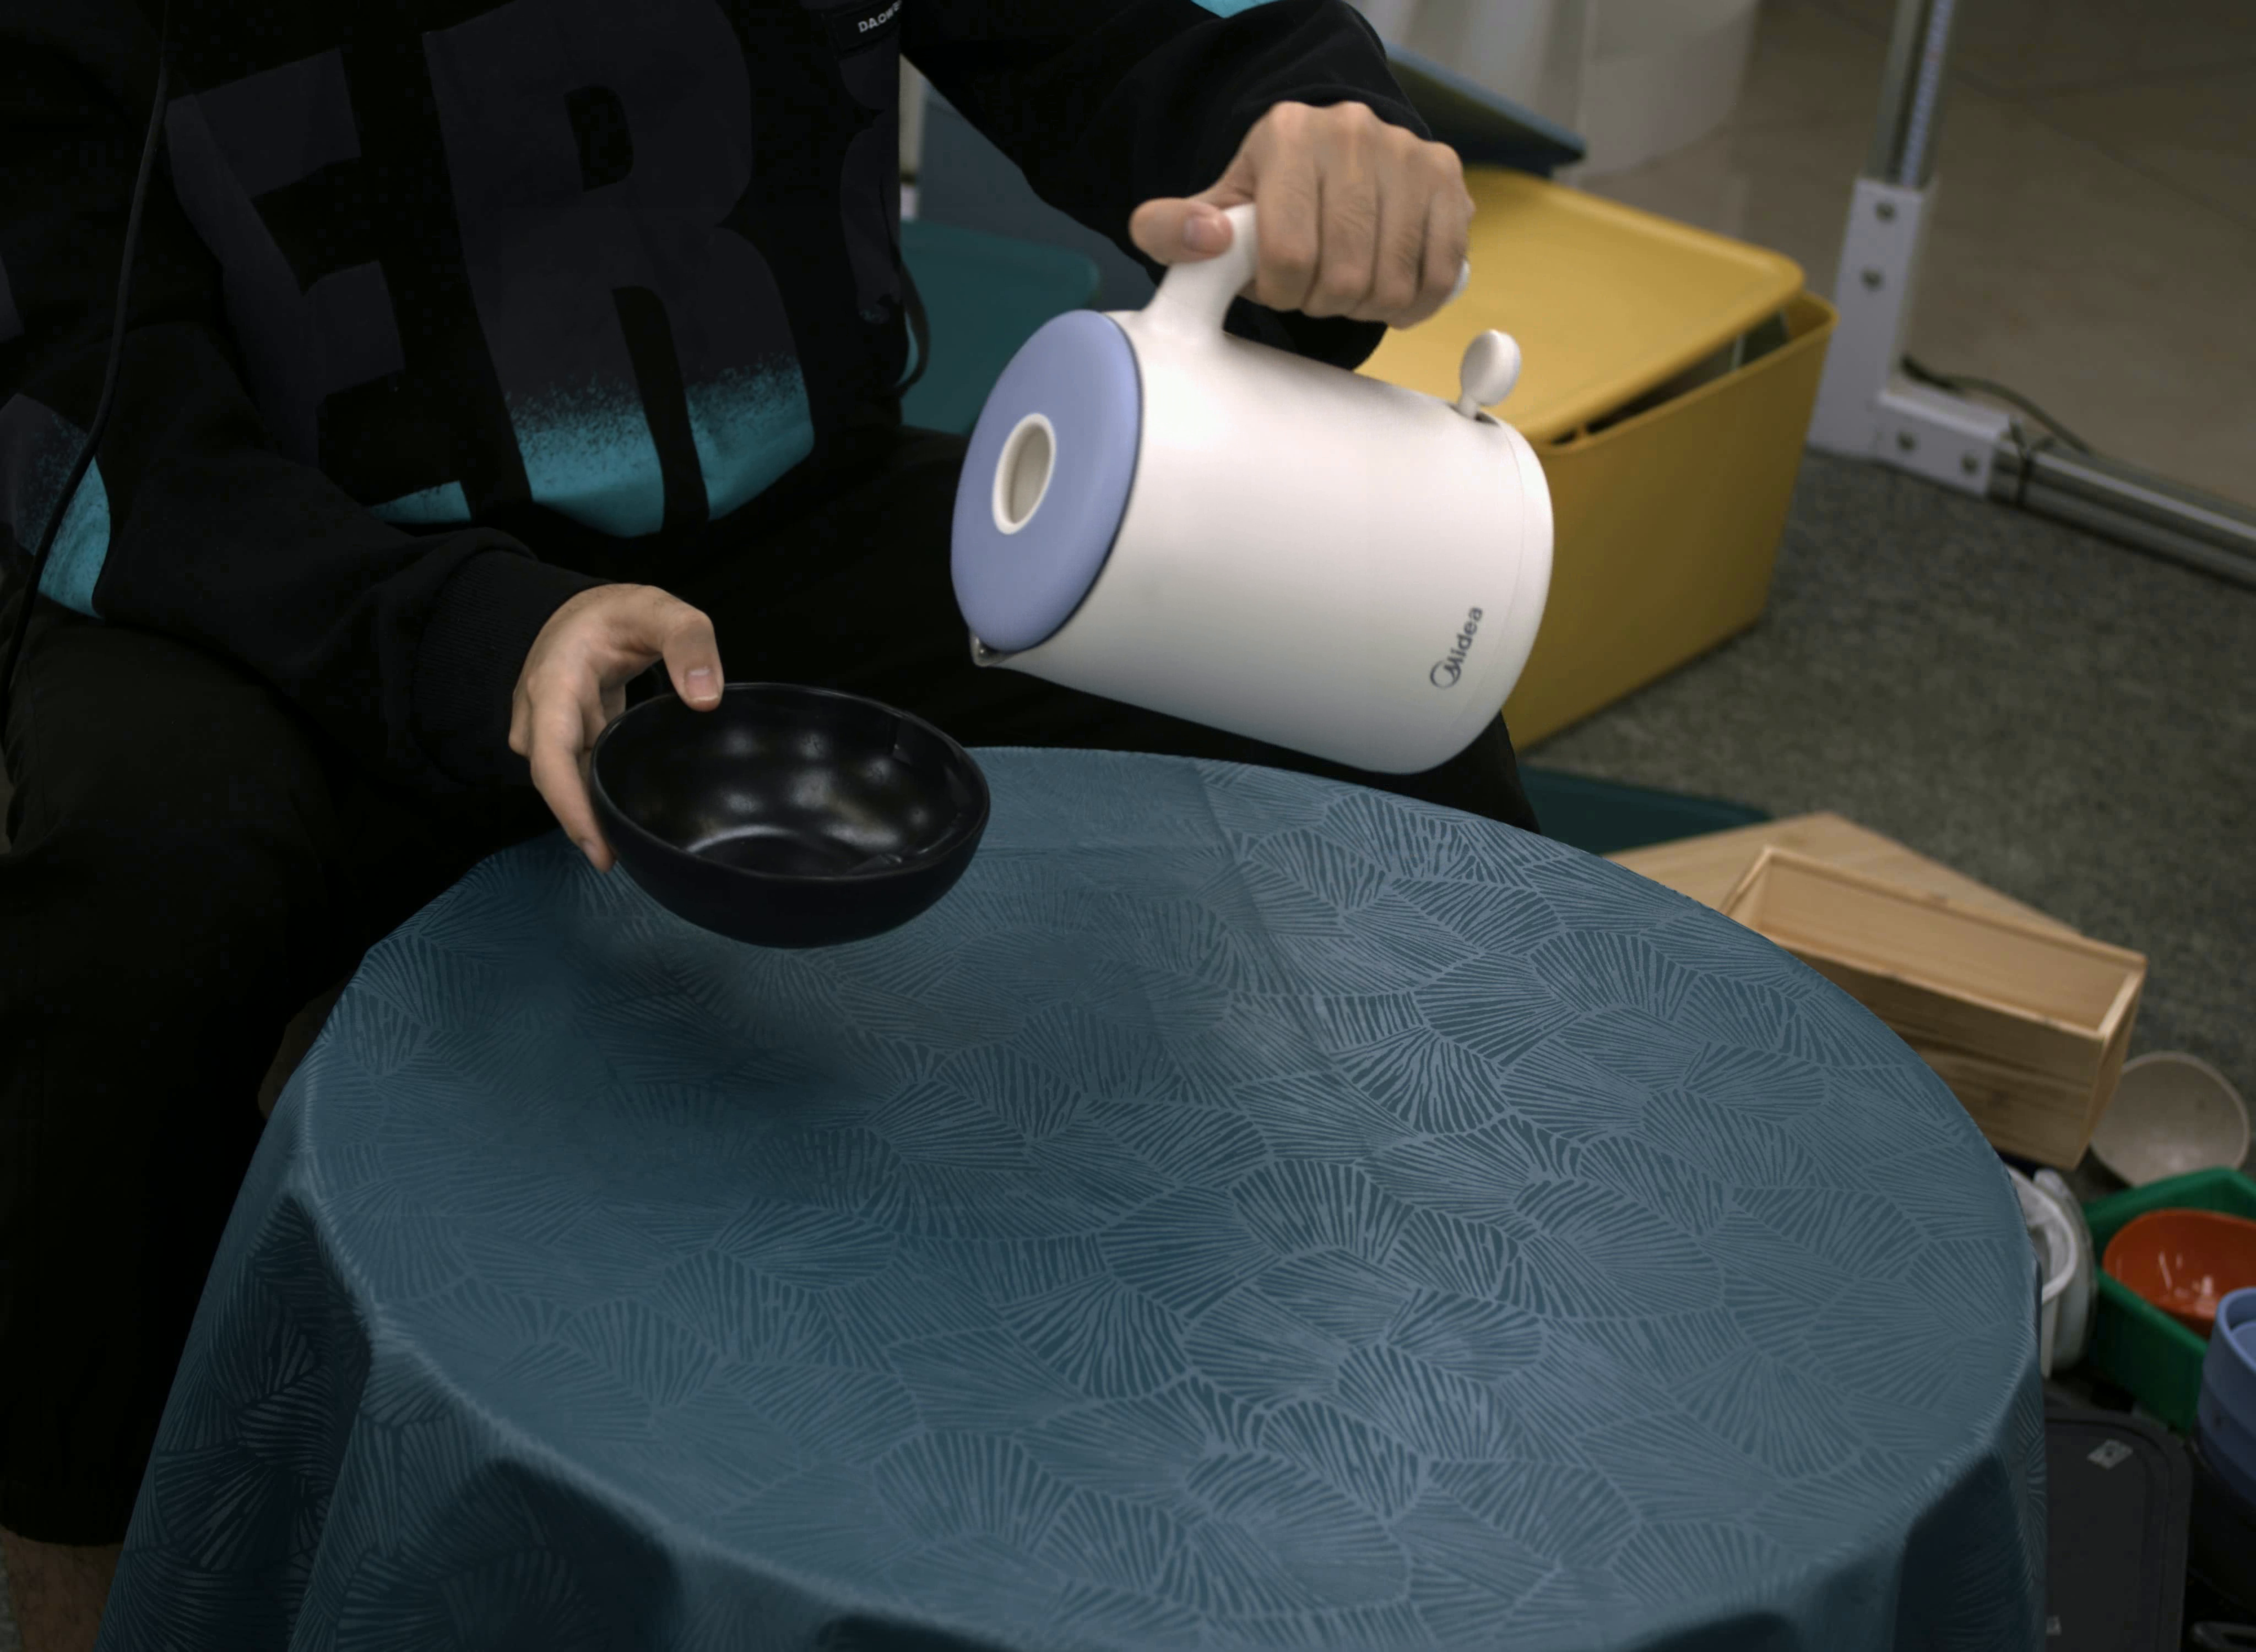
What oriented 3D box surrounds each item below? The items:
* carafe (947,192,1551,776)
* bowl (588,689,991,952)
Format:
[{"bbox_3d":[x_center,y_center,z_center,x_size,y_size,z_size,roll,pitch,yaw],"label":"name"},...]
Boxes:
[{"bbox_3d":[0.051,-0.120,1.813,0.181,0.191,0.133,18,14,-29],"label":"carafe"},{"bbox_3d":[-0.118,0.005,1.829,0.139,0.049,0.141,6,27,-3],"label":"bowl"}]
